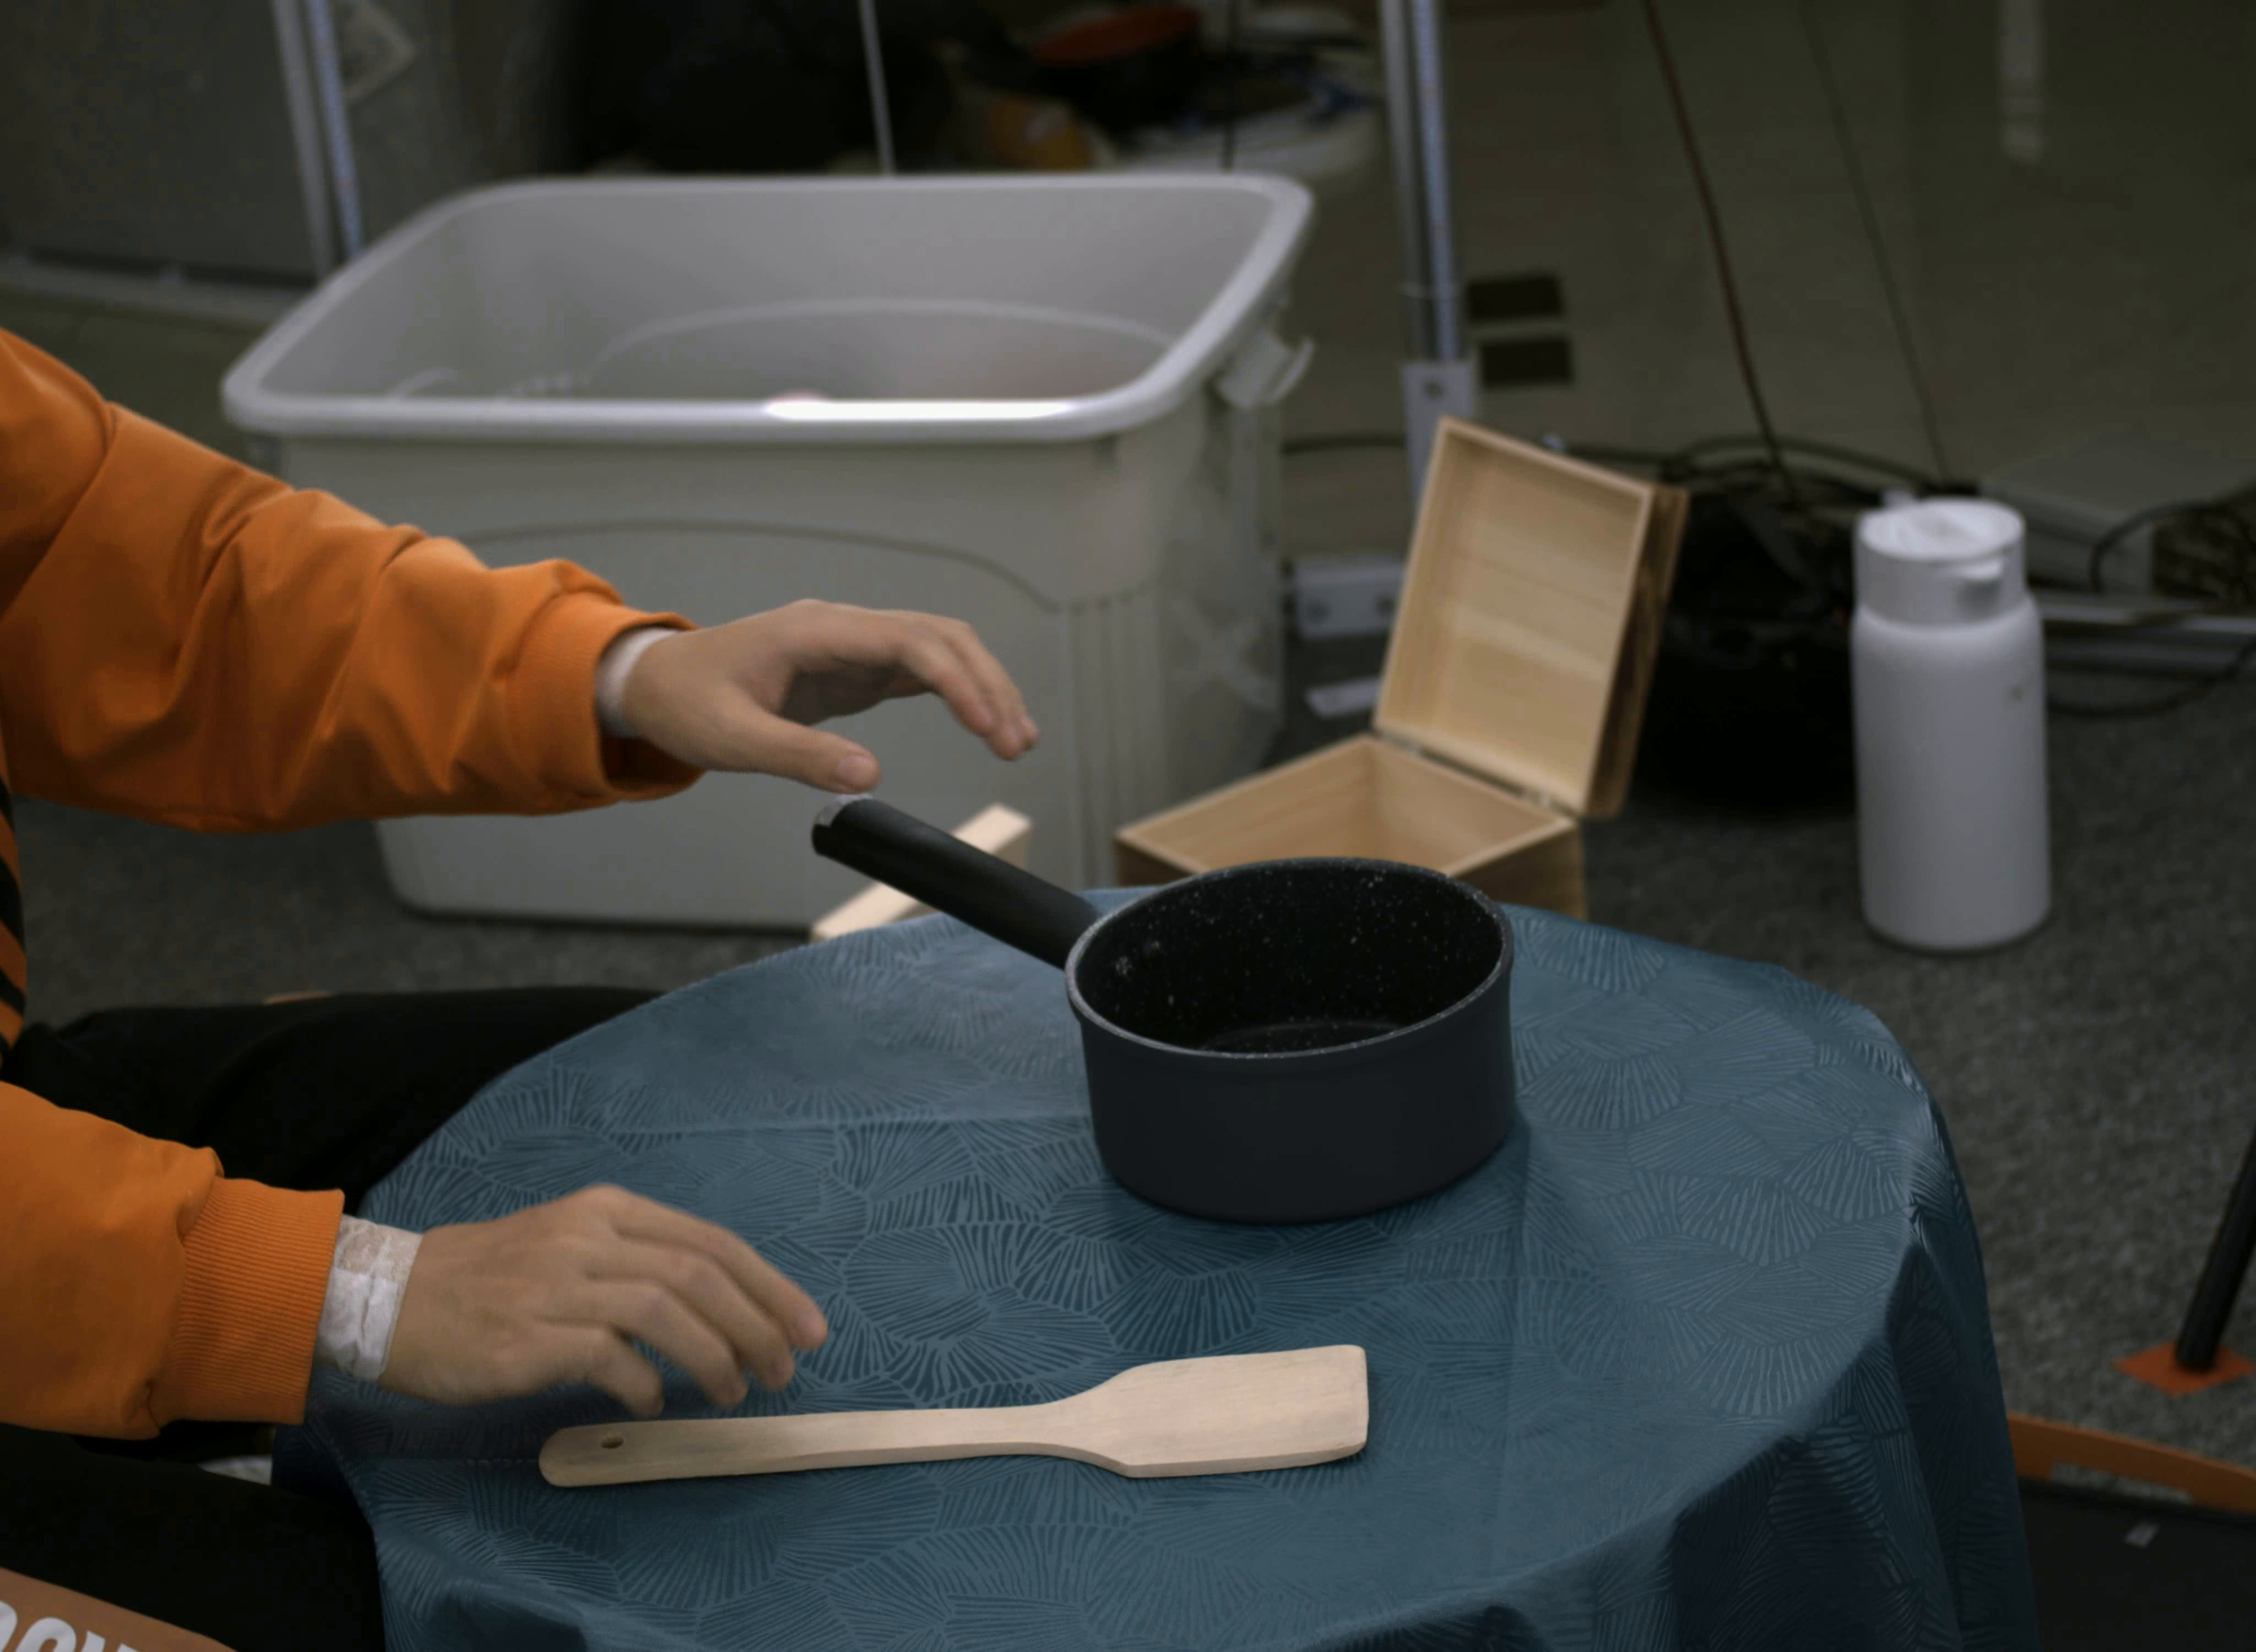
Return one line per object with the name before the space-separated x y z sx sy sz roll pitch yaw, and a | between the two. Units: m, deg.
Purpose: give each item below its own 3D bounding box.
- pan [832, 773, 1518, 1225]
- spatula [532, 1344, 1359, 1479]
pan | 0.007 0.060 2.212 0.326 0.088 0.170 19 35 40
spatula | -0.065 0.212 1.993 0.292 0.011 0.071 -4 29 4
